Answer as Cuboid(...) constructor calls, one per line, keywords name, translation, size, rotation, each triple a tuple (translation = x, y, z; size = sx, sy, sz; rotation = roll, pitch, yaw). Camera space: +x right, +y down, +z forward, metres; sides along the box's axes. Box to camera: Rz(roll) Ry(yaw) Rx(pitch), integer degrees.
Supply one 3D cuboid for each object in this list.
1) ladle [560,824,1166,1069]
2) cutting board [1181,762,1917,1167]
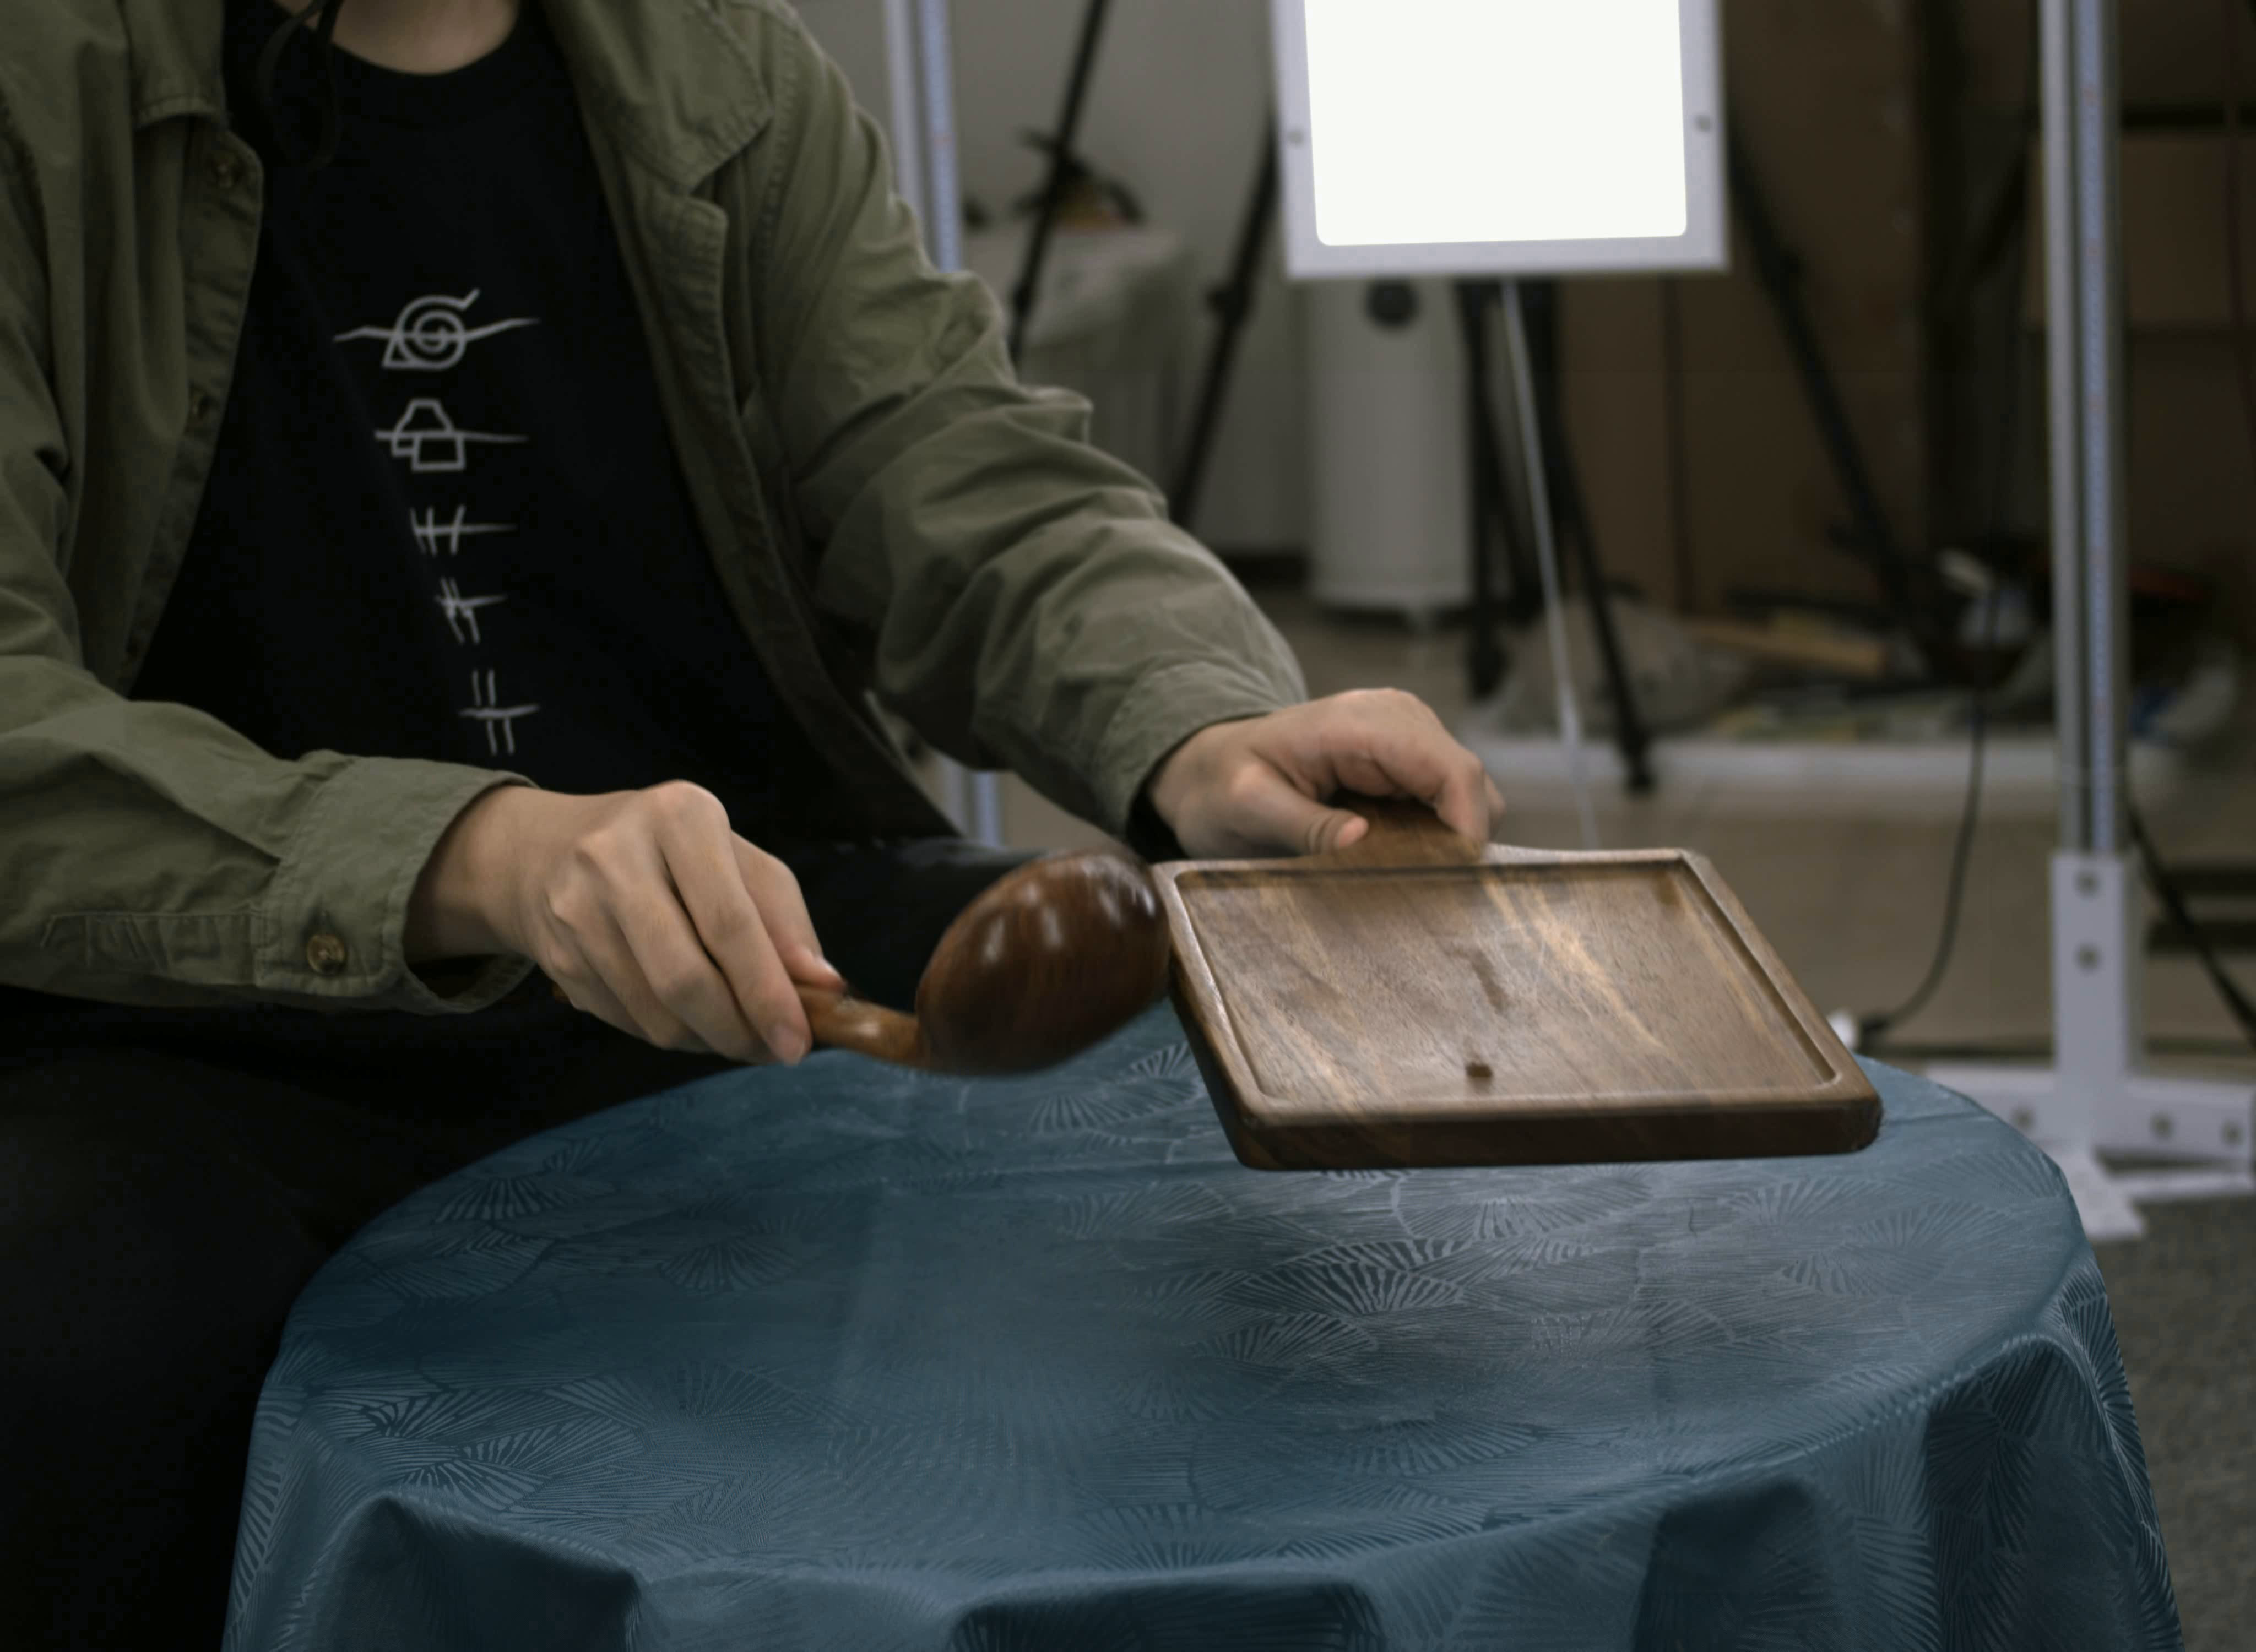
Cuboid(name="ladle", translation=(-0.093, 0.031, 1.717), size=(0.080, 0.077, 0.280), rotation=(7, -1, -39))
Cuboid(name="cutting board", translation=(0.124, 0.039, 1.800), size=(0.200, 0.023, 0.352), rotation=(-1, 17, -5))
